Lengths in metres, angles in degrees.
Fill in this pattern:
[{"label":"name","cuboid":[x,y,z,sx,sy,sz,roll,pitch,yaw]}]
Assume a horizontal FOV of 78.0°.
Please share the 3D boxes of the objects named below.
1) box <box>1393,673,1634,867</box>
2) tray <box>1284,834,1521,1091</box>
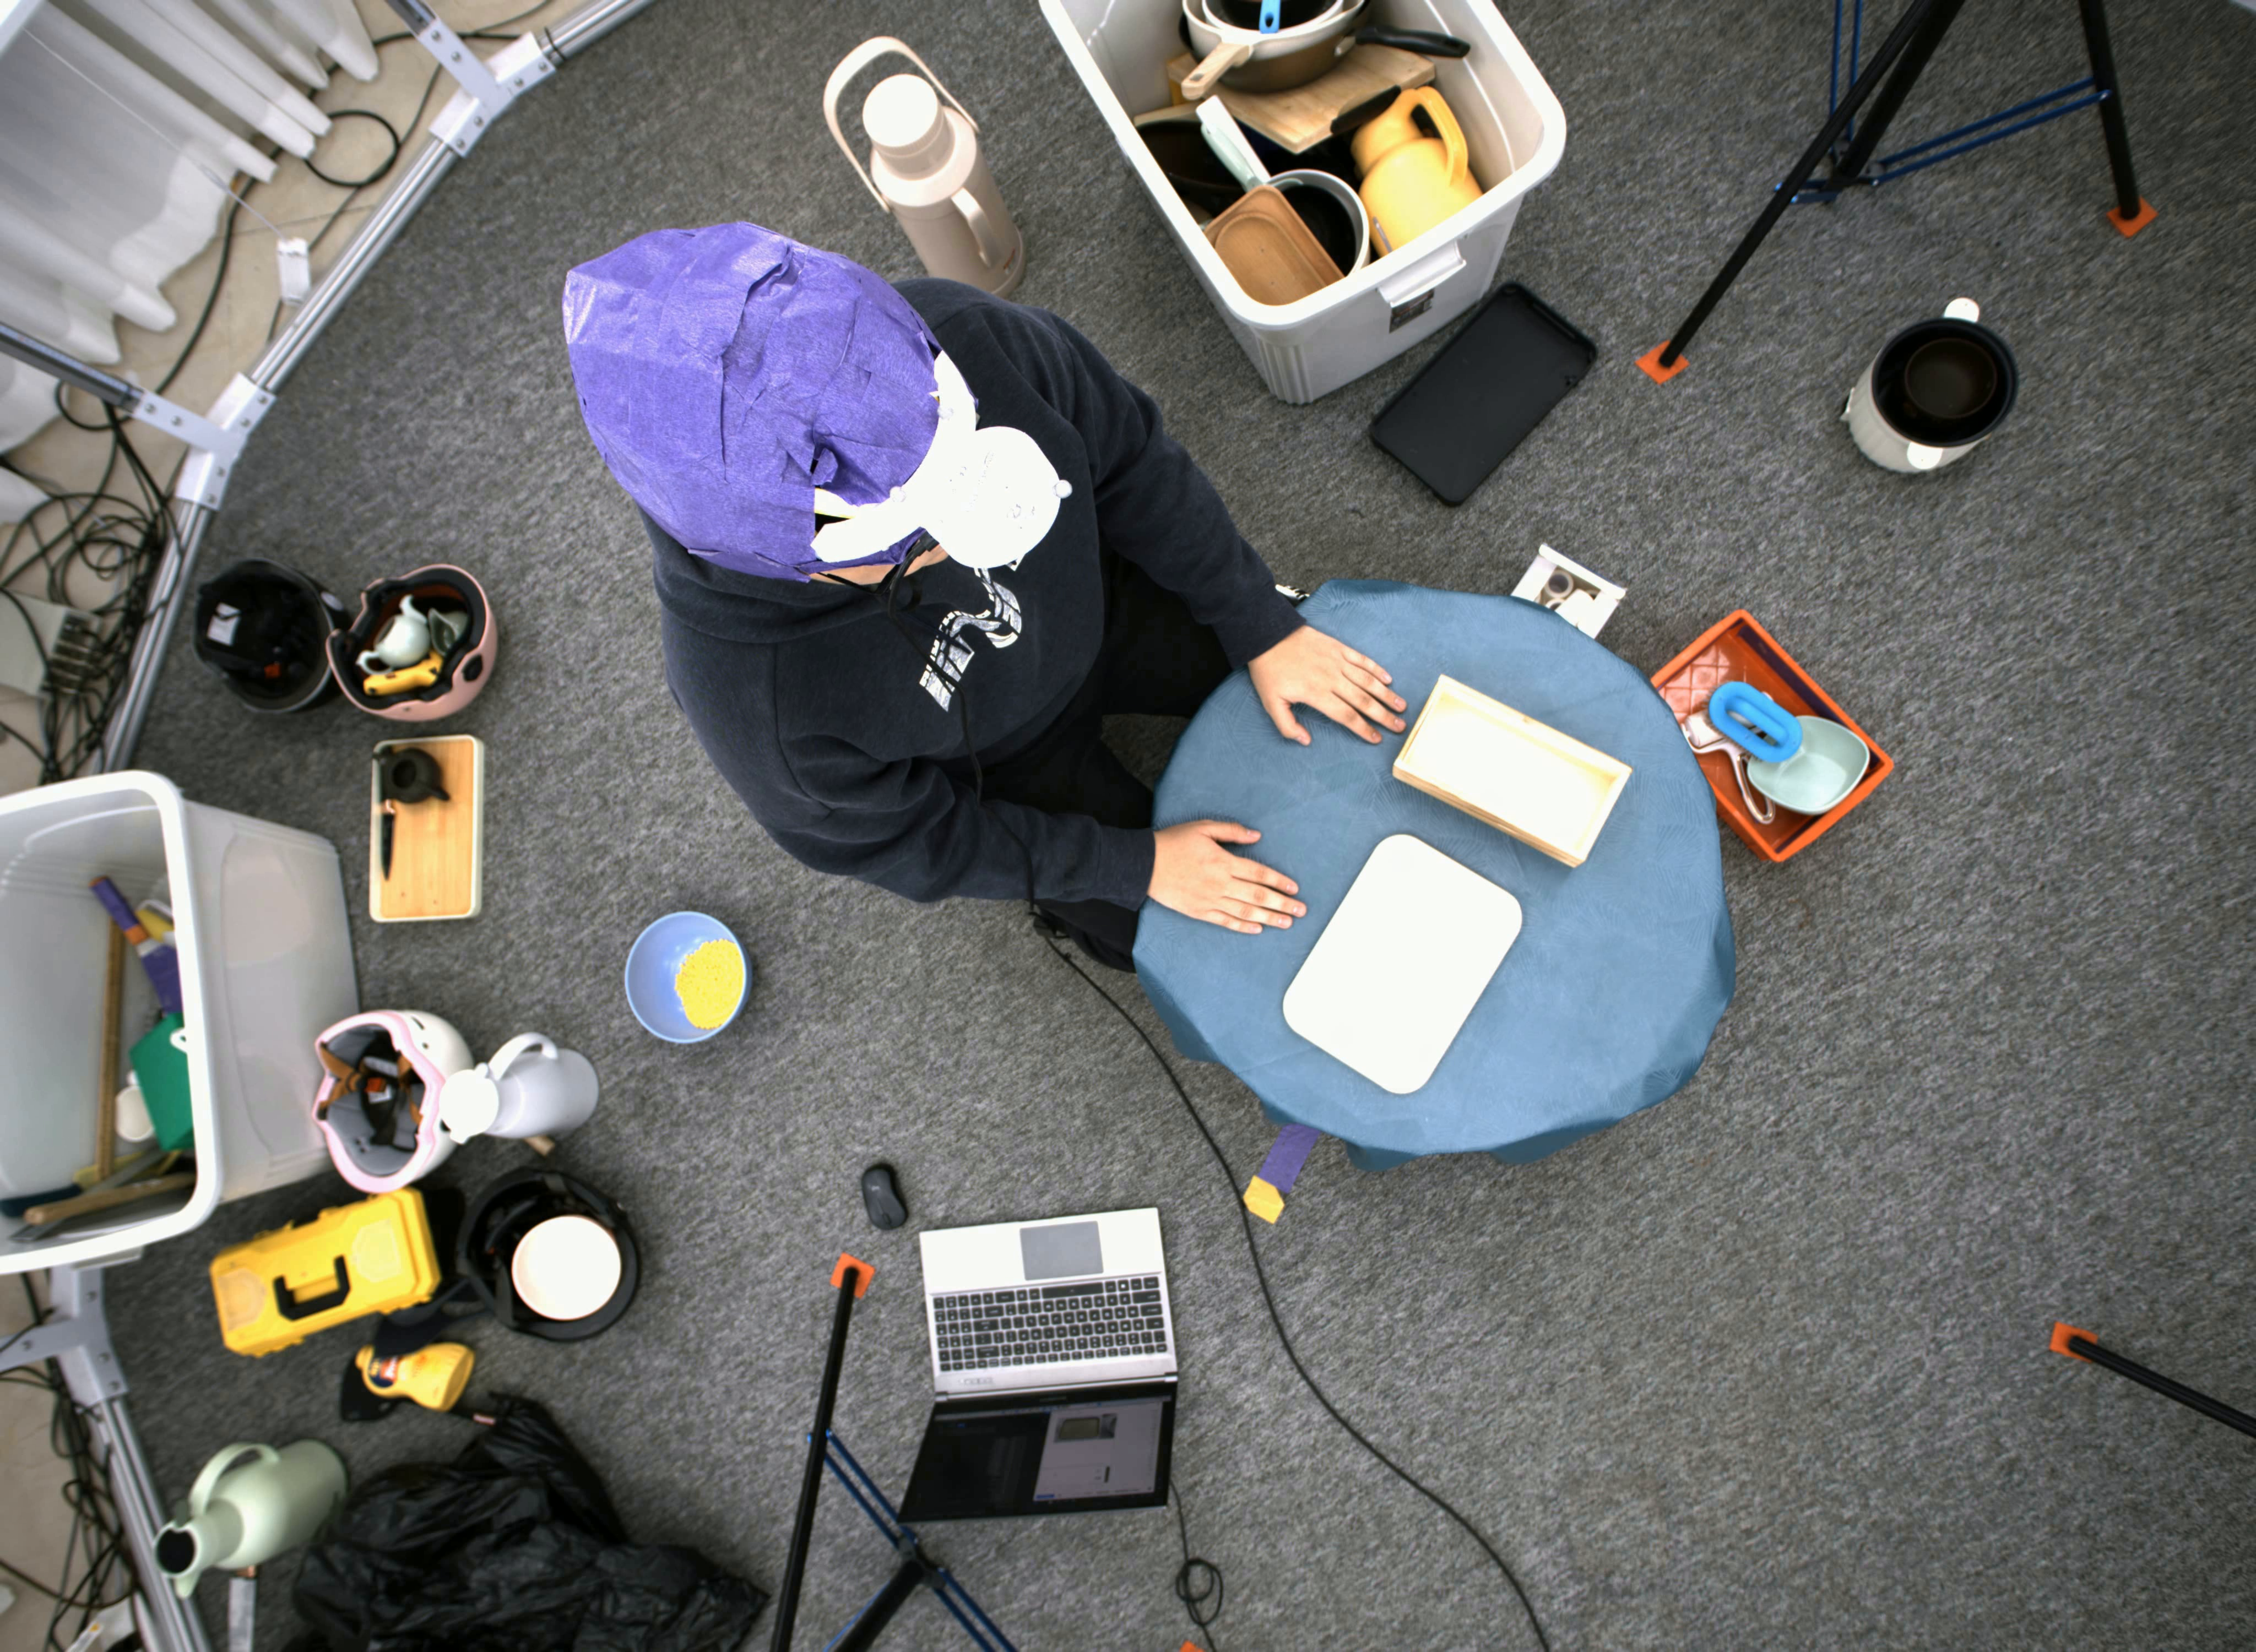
[{"label":"box","cuboid":[0.390,-0.058,1.405,0.211,0.080,0.107,28,90,12]},{"label":"tray","cuboid":[0.286,0.141,1.445,0.171,0.017,0.240,32,93,12]}]
